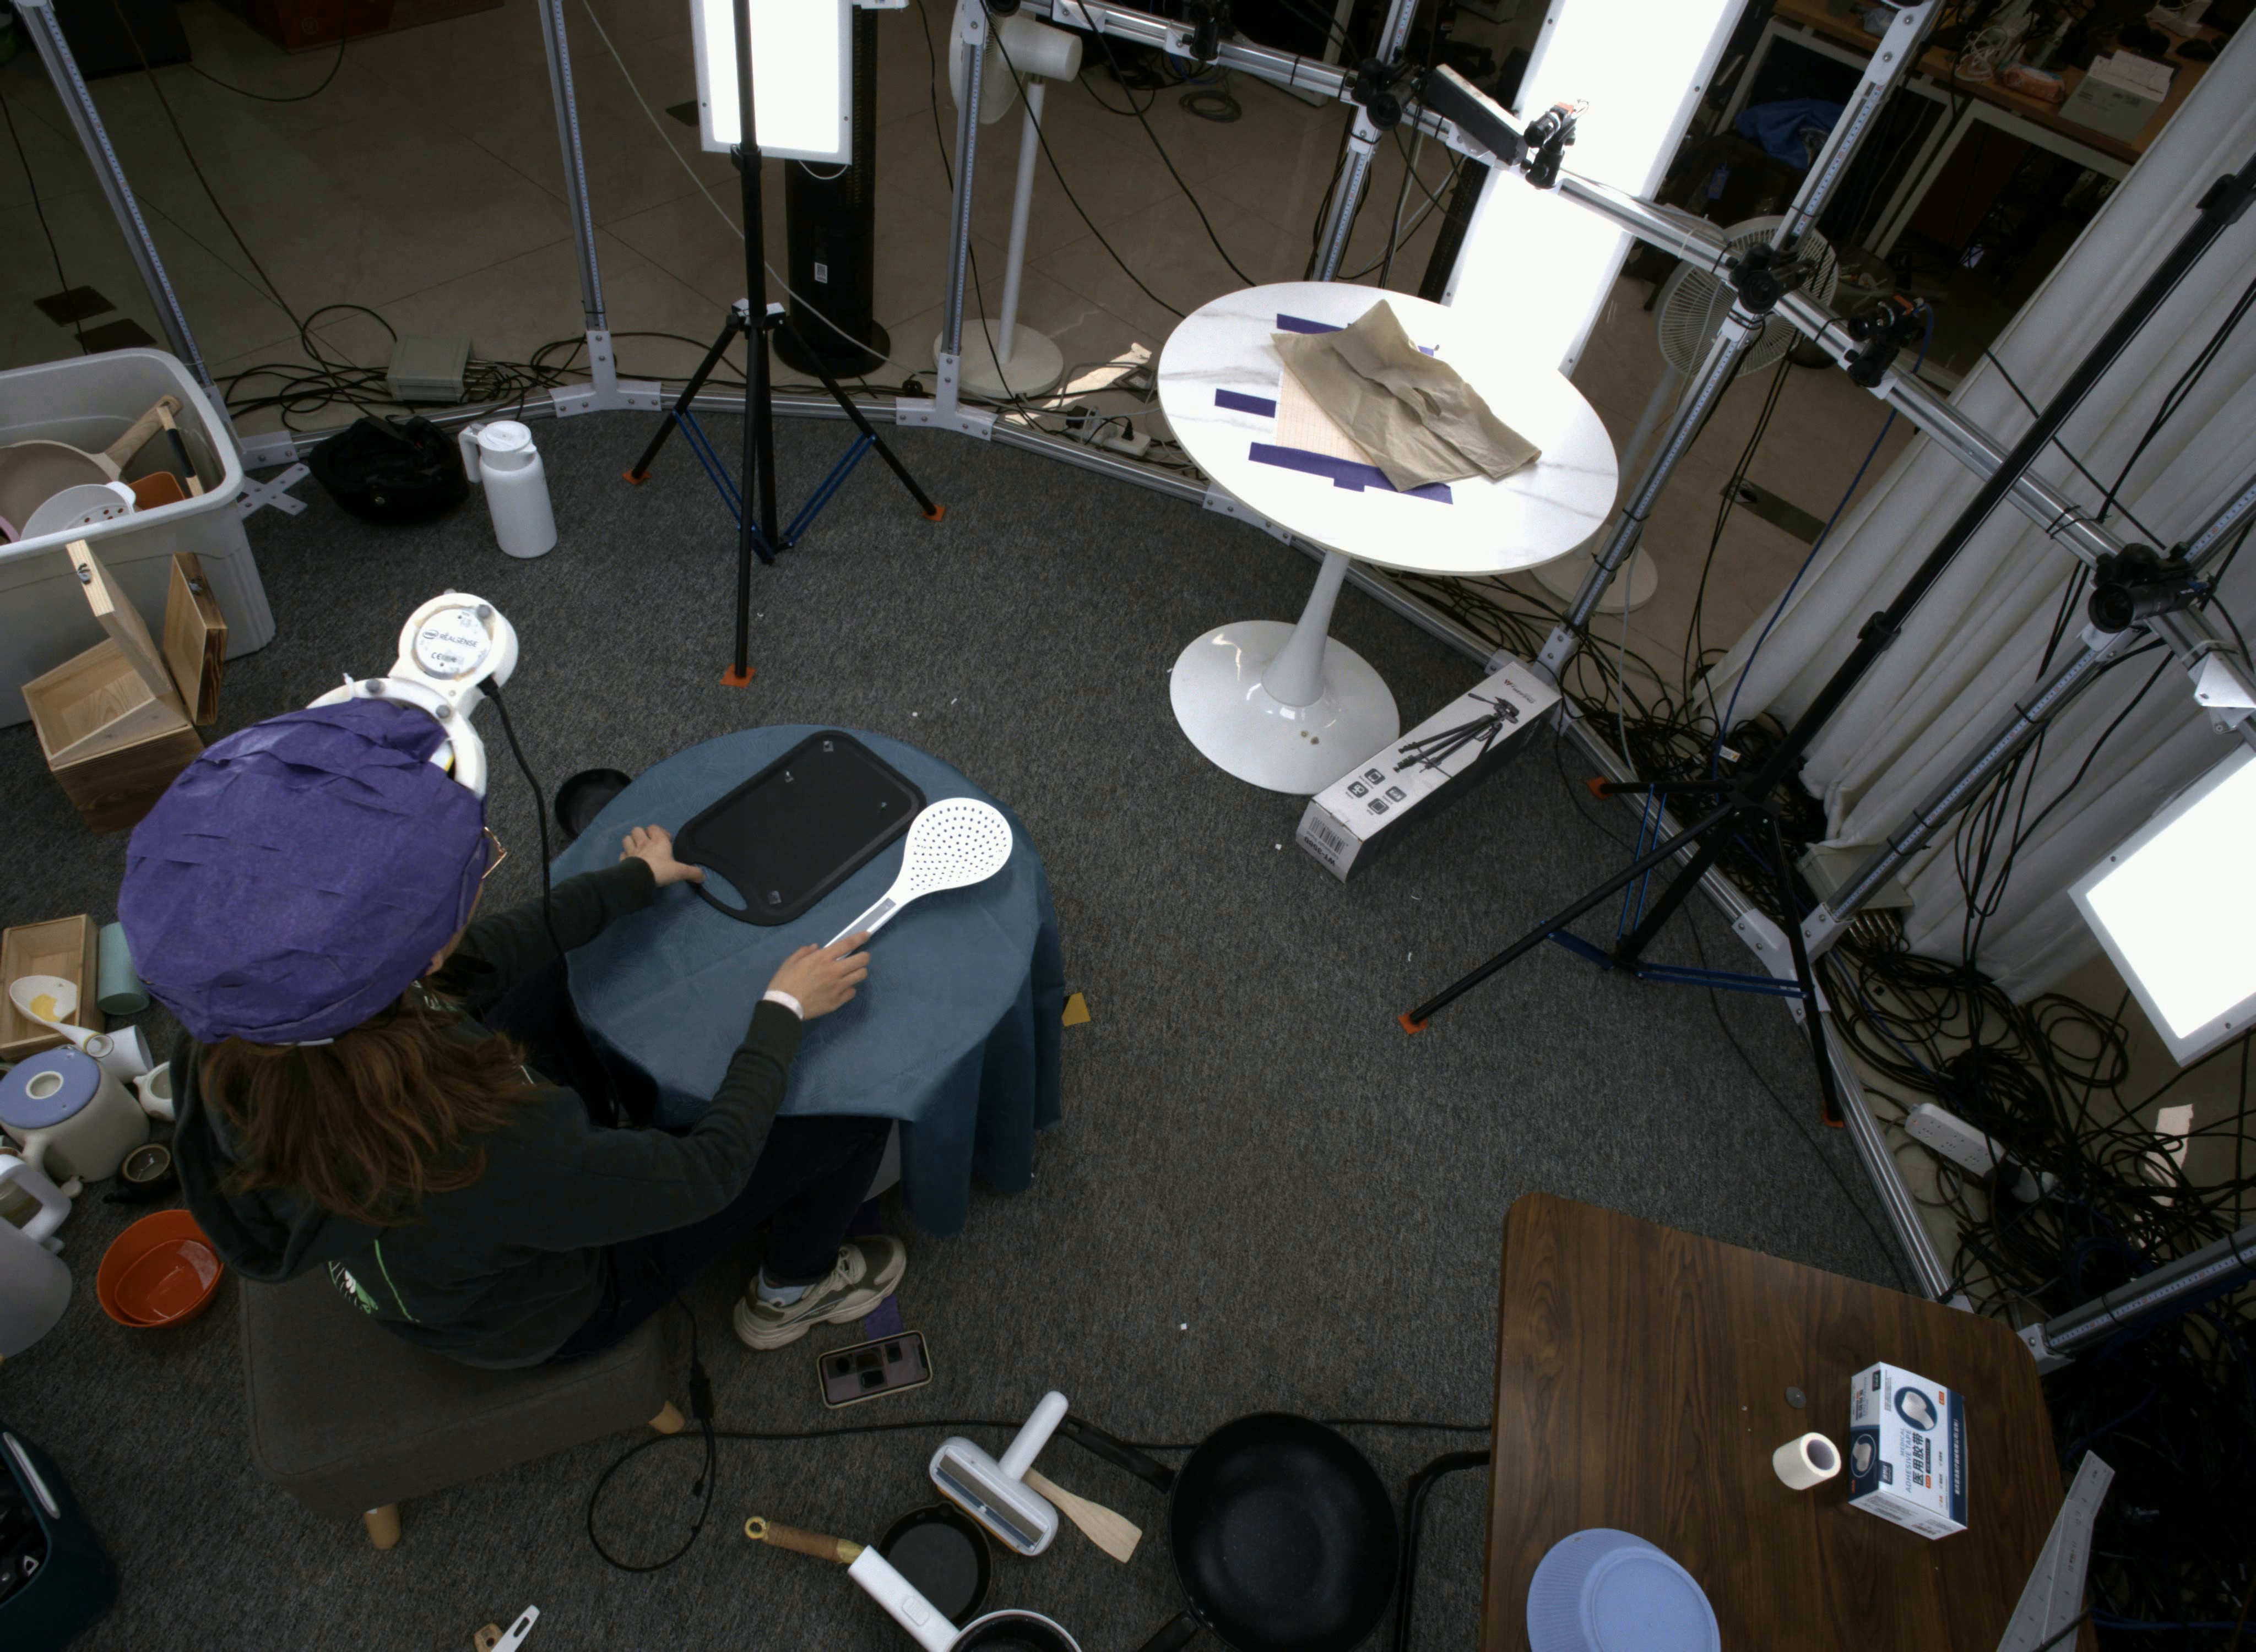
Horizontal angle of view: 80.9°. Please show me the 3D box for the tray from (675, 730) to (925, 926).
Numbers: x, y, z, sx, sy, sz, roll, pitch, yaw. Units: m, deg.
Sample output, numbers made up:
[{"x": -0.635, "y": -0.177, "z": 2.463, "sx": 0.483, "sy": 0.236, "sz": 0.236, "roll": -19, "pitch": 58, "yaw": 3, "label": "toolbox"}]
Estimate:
[{"x": -0.437, "y": -0.002, "z": 1.723, "sx": 0.207, "sy": 0.010, "sz": 0.325, "roll": 37, "pitch": 54, "yaw": 14, "label": "tray"}]

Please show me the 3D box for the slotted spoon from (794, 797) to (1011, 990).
[{"x": -0.291, "y": 0.086, "z": 1.670, "sx": 0.133, "sy": 0.047, "sz": 0.350, "roll": 37, "pitch": 55, "yaw": 17, "label": "slotted spoon"}]
